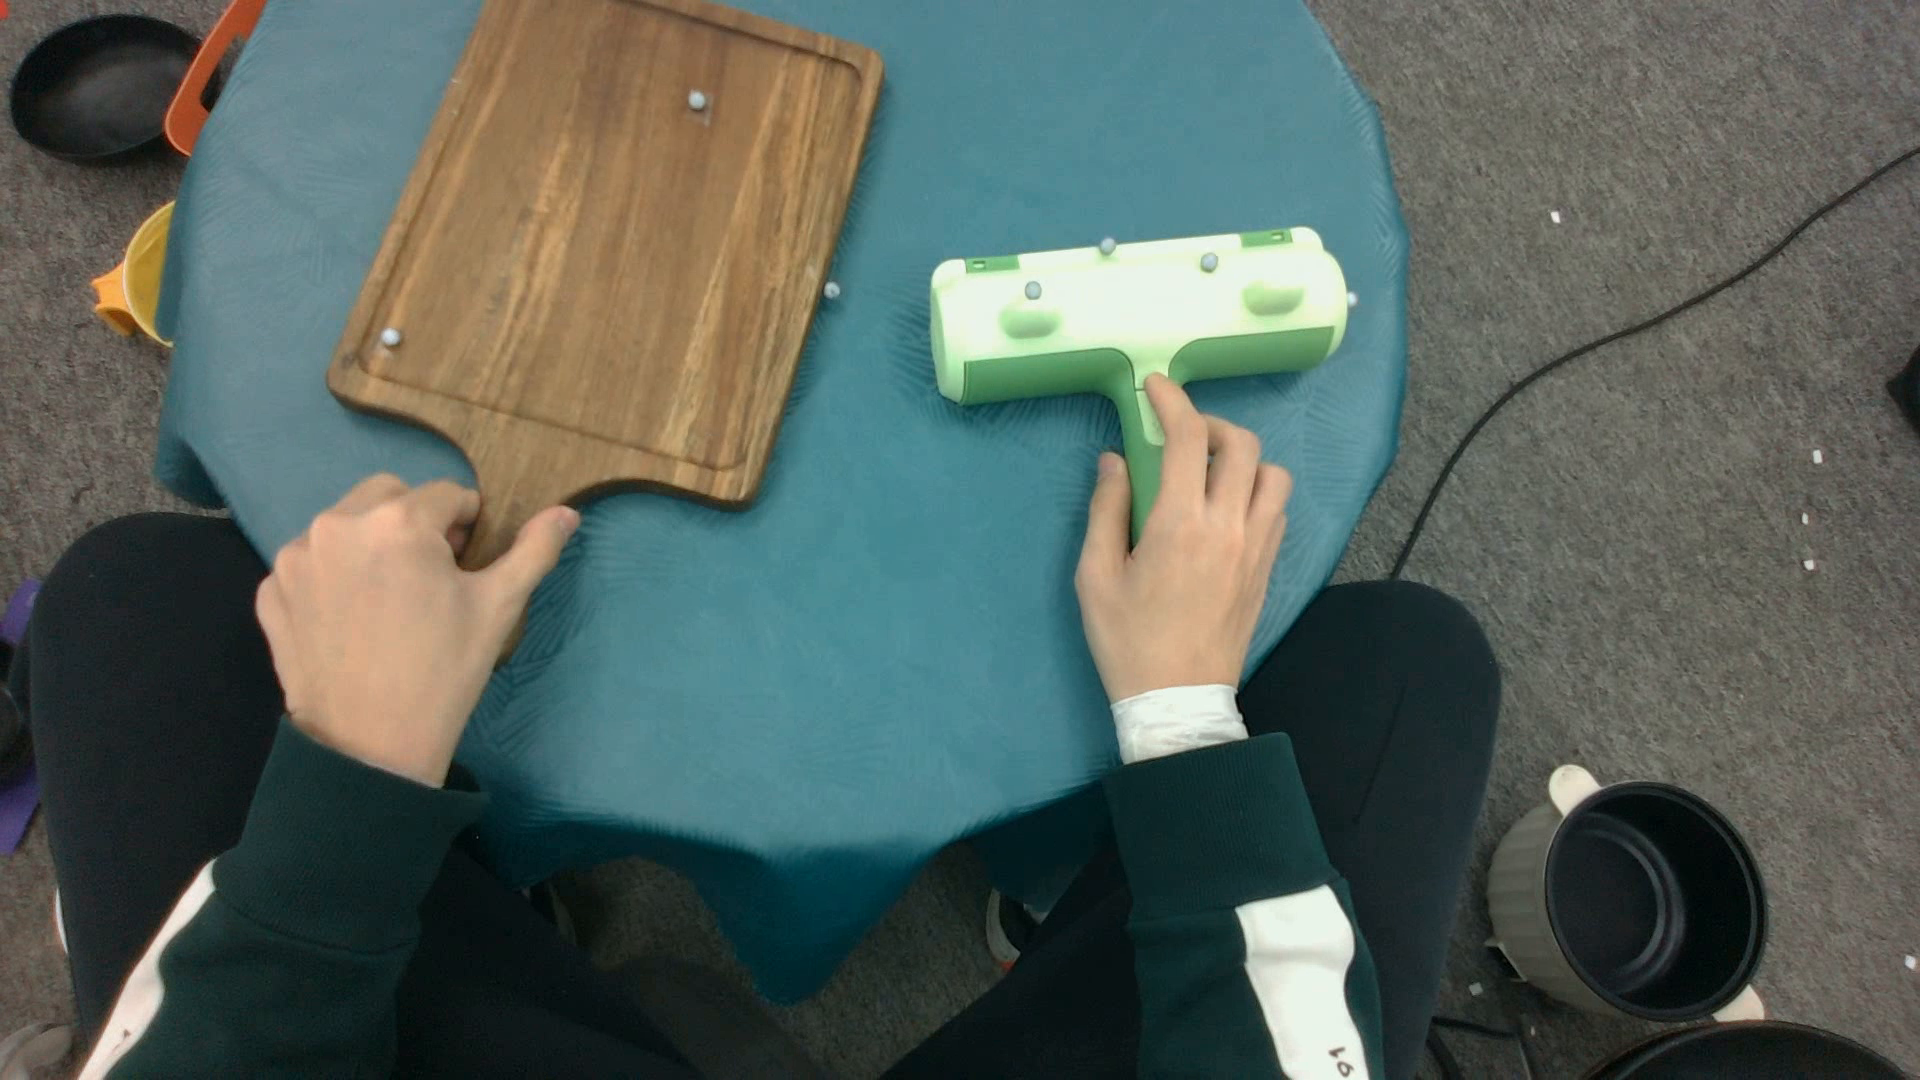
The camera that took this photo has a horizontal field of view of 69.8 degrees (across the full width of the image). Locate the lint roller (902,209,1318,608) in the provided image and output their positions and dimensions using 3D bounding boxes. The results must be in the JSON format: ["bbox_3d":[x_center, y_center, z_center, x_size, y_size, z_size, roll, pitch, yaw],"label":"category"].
[{"bbox_3d":[0.083,-0.065,0.636,0.199,0.082,0.184,-8,71,-10],"label":"lint roller"}]

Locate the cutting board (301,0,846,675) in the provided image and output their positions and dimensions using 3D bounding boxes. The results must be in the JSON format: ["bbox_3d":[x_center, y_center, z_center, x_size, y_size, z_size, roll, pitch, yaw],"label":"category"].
[{"bbox_3d":[-0.185,-0.109,0.643,0.201,0.023,0.353,13,73,-3],"label":"cutting board"}]
